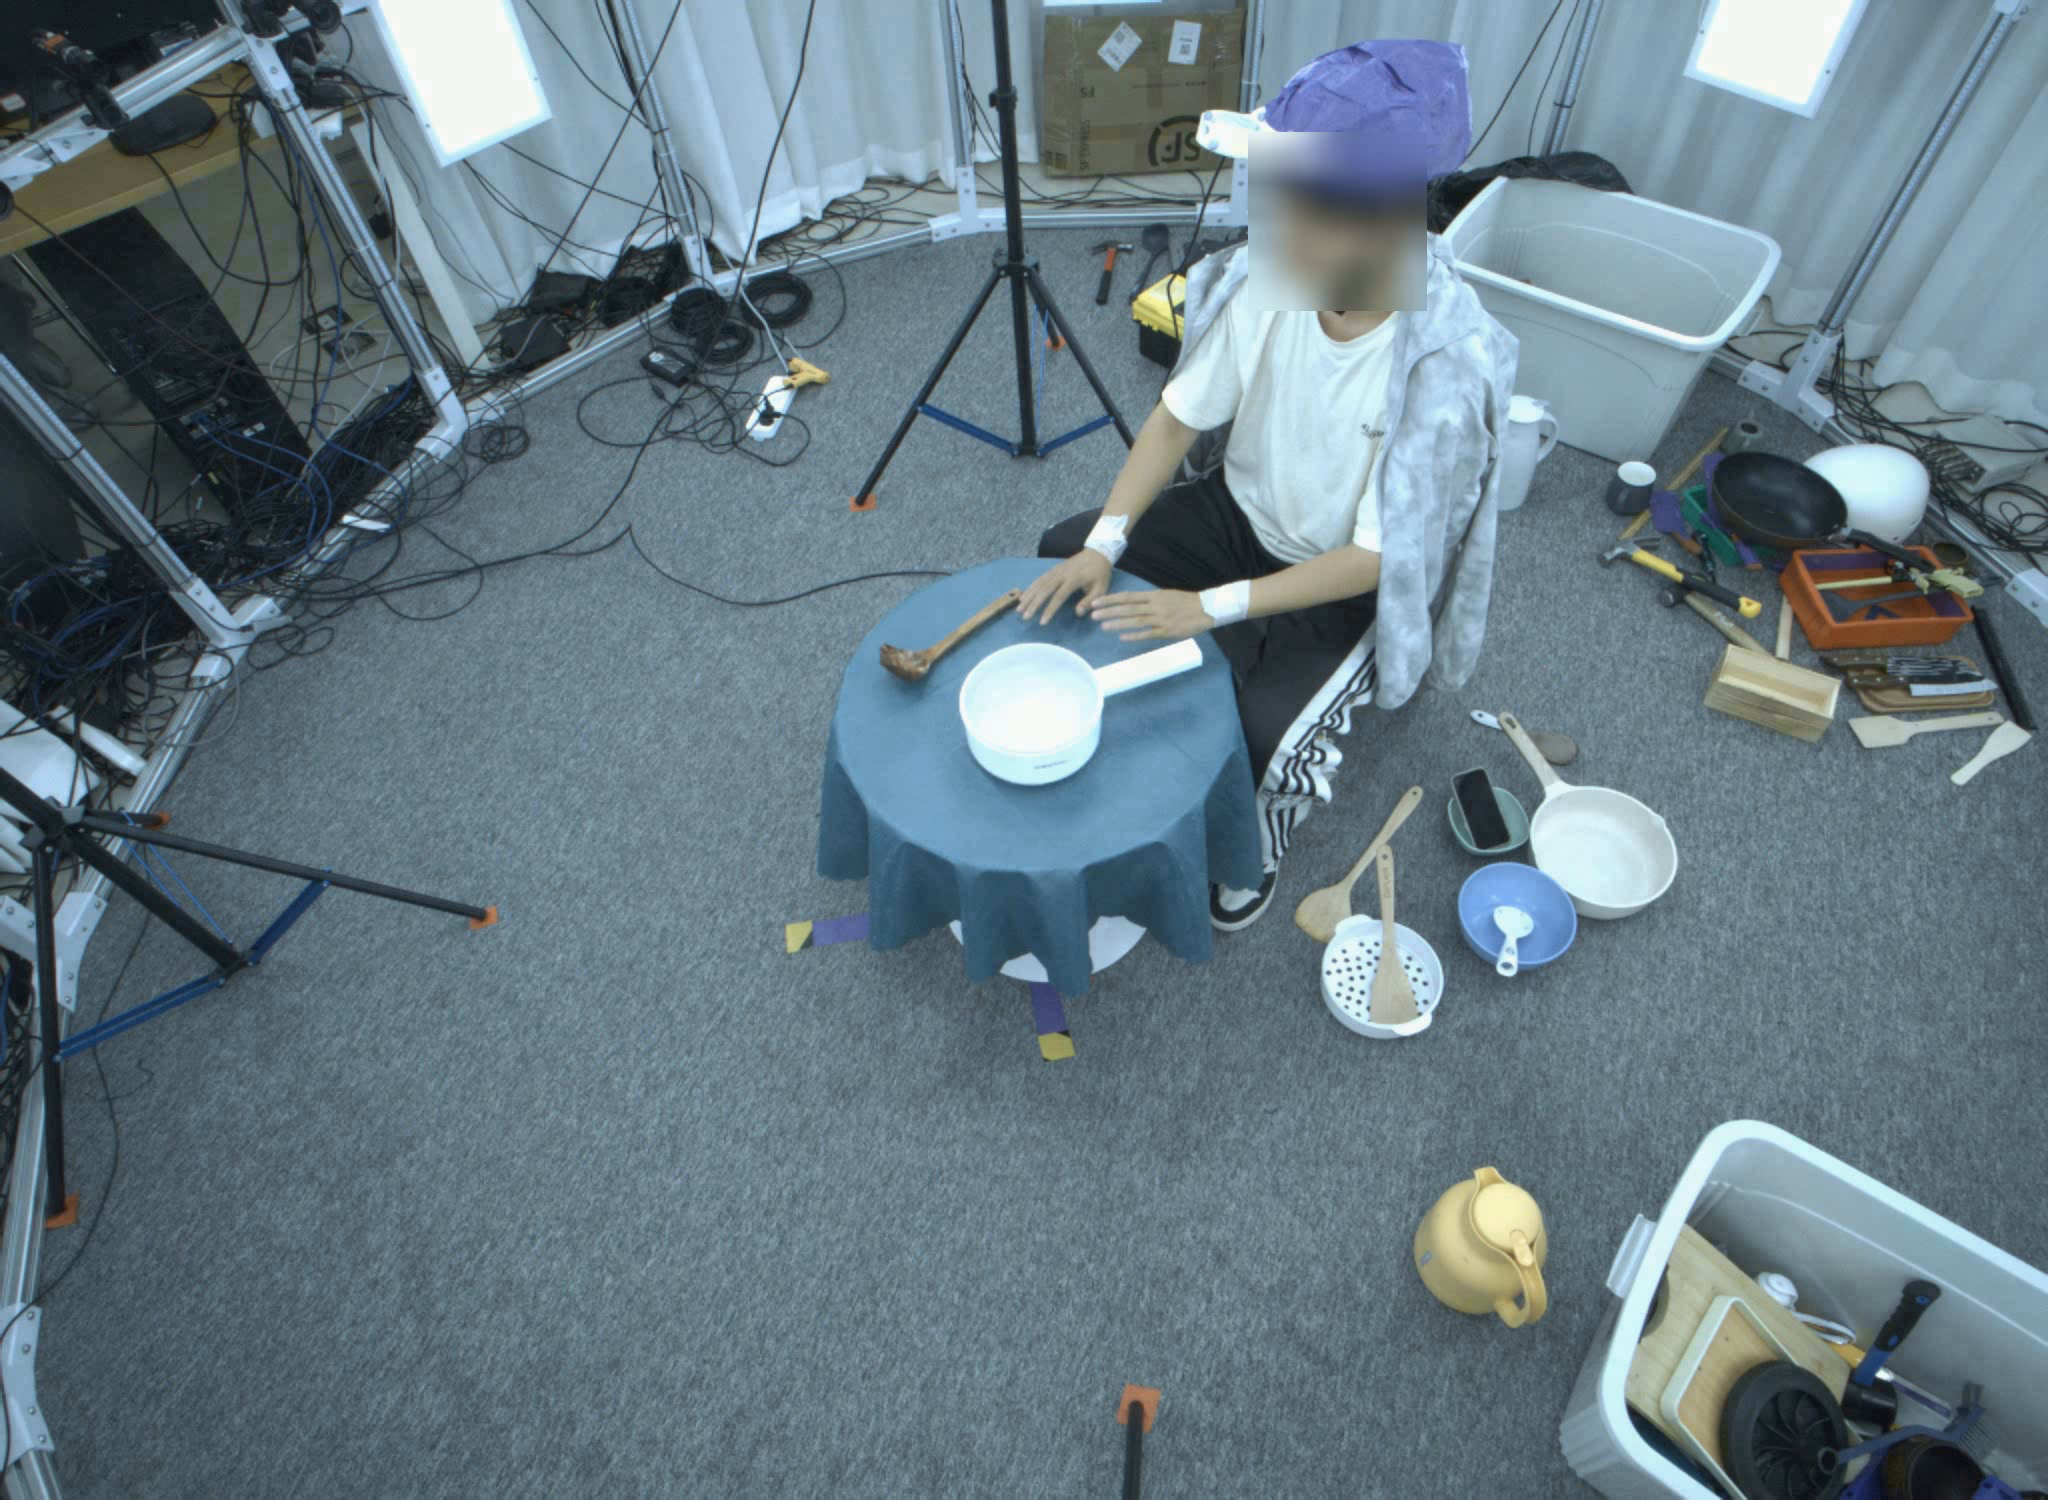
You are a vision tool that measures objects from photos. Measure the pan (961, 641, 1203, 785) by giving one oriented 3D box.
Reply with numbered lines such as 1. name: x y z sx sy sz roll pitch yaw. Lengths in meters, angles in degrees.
1. pan: 0.086 -0.069 1.775 0.357 0.103 0.197 -17 55 -11

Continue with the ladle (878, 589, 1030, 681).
1. ladle: -0.104 -0.192 1.881 0.276 0.077 0.081 -36 69 -20
